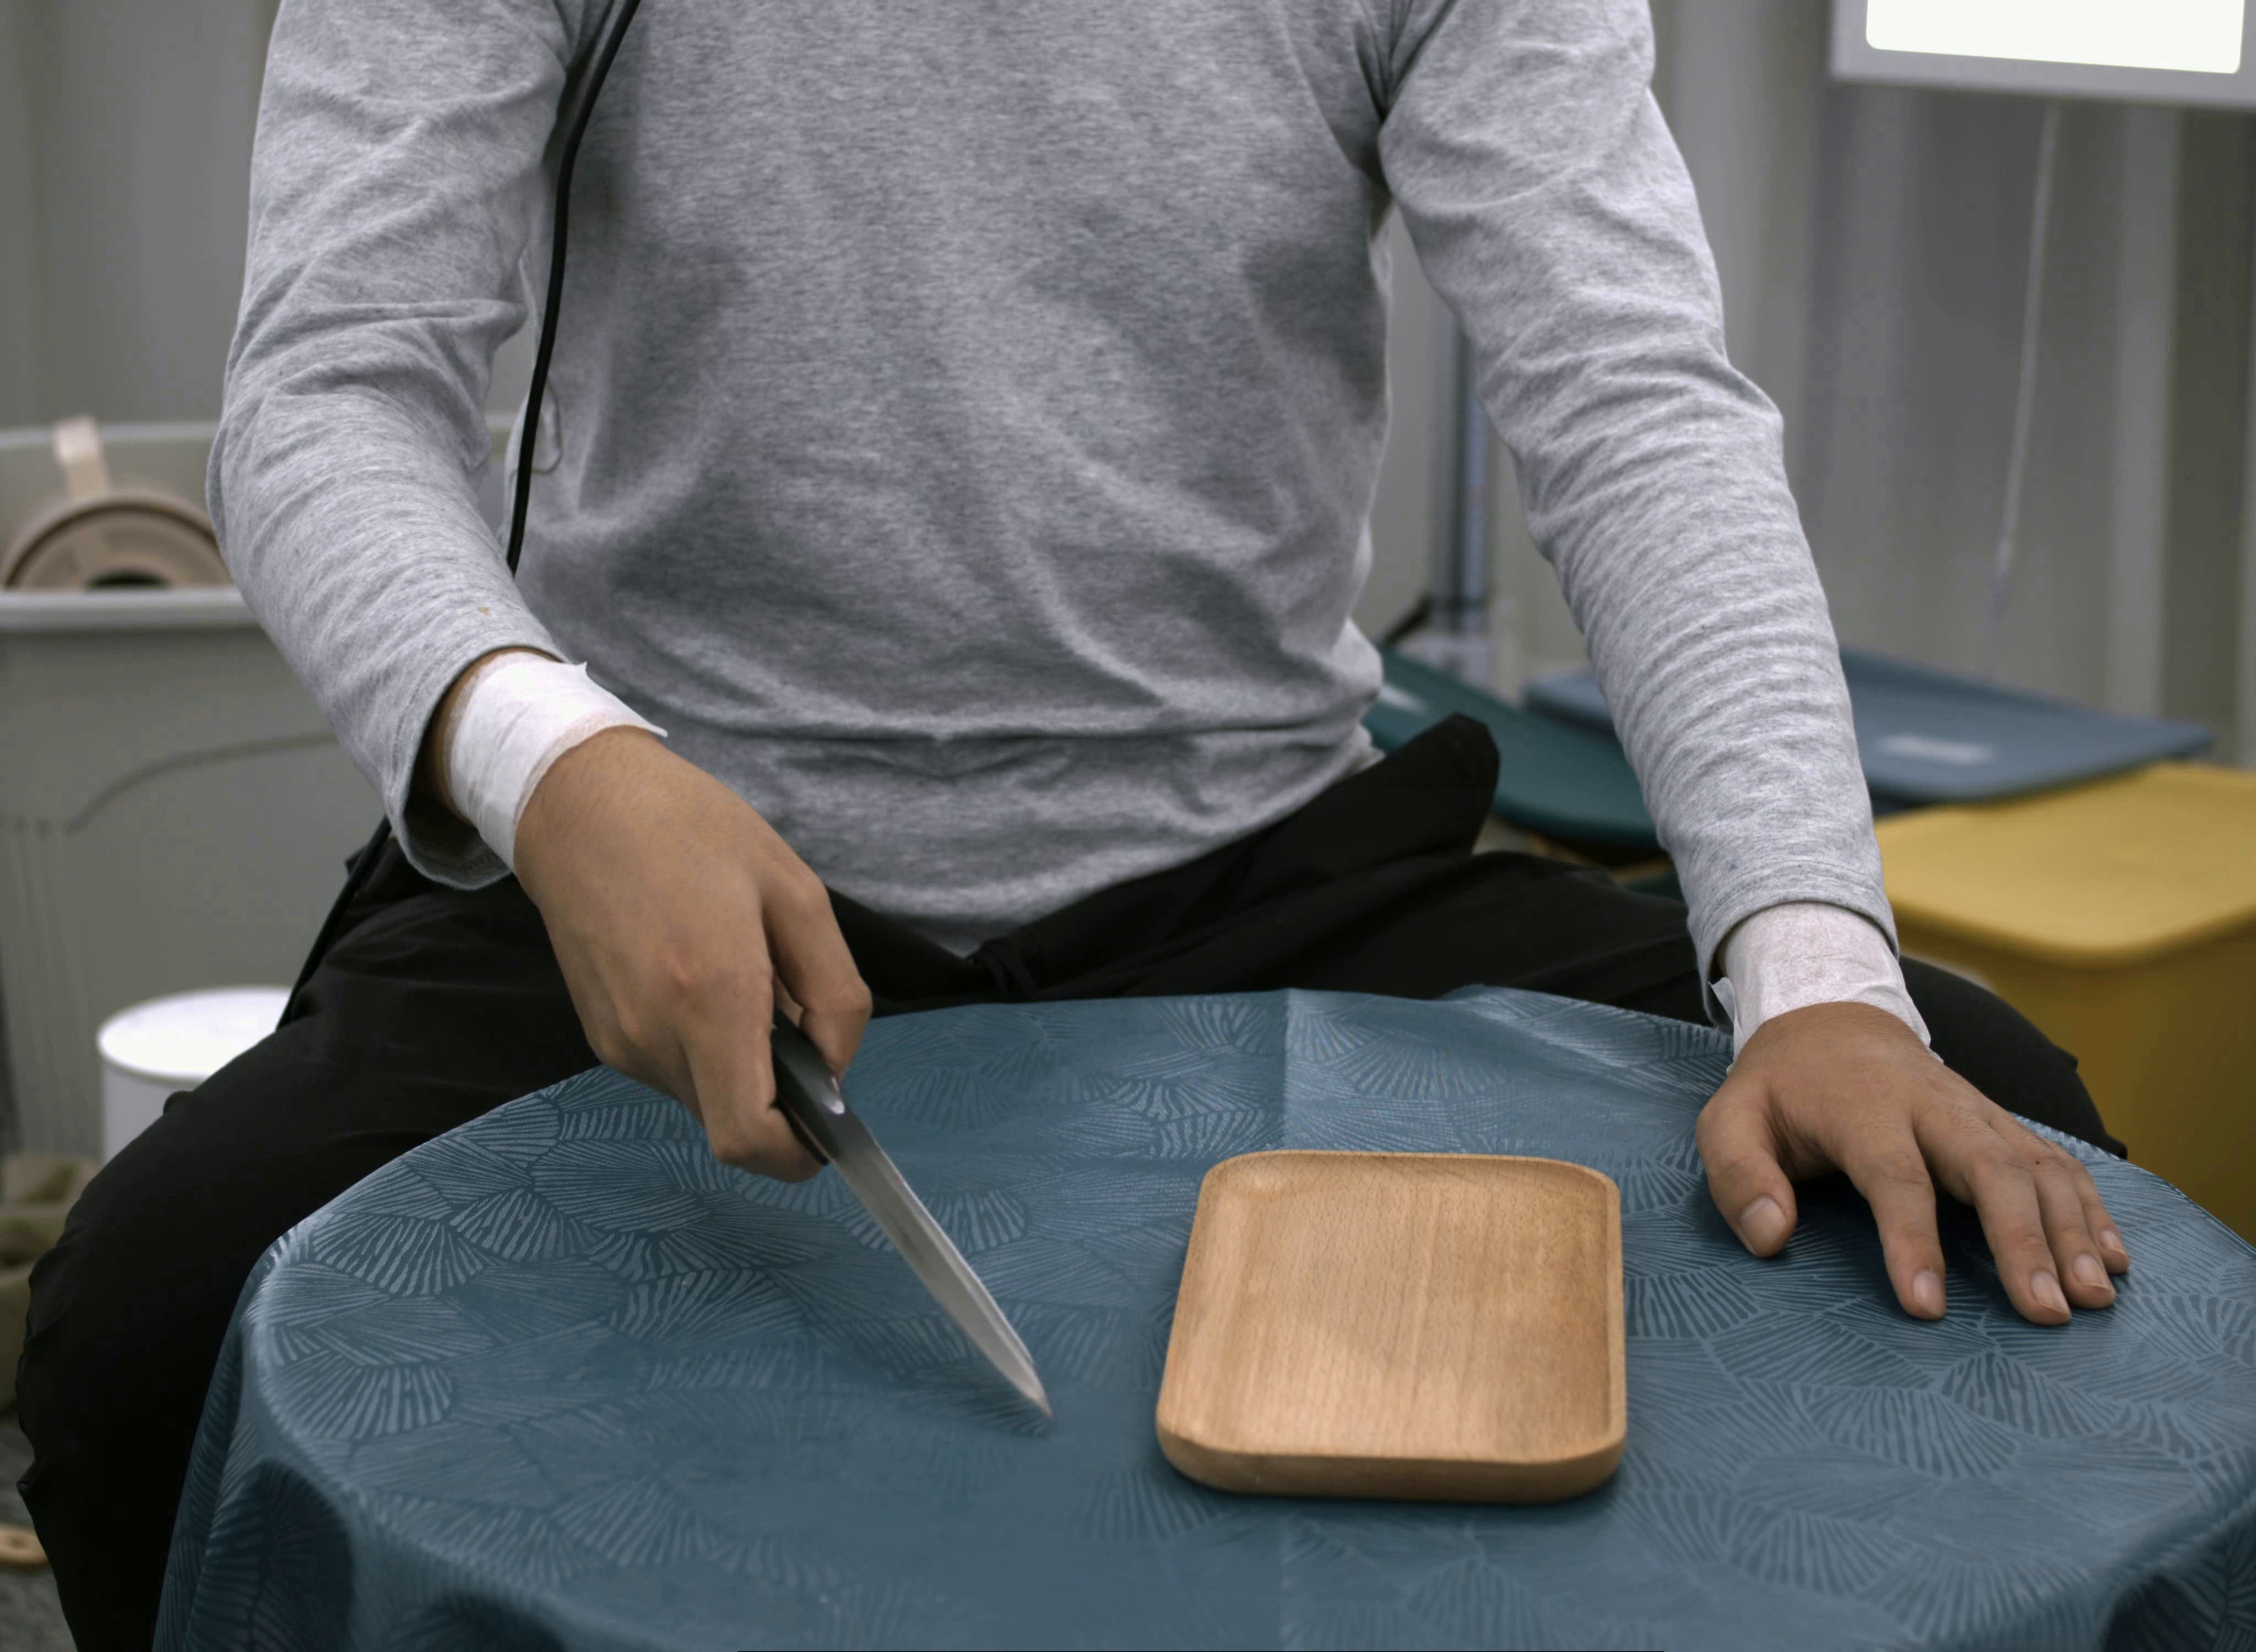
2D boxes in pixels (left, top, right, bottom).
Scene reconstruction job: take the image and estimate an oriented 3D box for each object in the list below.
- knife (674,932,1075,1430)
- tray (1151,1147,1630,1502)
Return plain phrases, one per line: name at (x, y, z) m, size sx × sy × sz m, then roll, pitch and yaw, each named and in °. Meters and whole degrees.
knife at (-0.075, 0.100, 1.509) m, size 0.024 × 0.016 × 0.235 m, roll 0°, pitch 33°, yaw -36°
tray at (0.078, 0.139, 1.501) m, size 0.130 × 0.023 × 0.250 m, roll 5°, pitch 15°, yaw 4°
